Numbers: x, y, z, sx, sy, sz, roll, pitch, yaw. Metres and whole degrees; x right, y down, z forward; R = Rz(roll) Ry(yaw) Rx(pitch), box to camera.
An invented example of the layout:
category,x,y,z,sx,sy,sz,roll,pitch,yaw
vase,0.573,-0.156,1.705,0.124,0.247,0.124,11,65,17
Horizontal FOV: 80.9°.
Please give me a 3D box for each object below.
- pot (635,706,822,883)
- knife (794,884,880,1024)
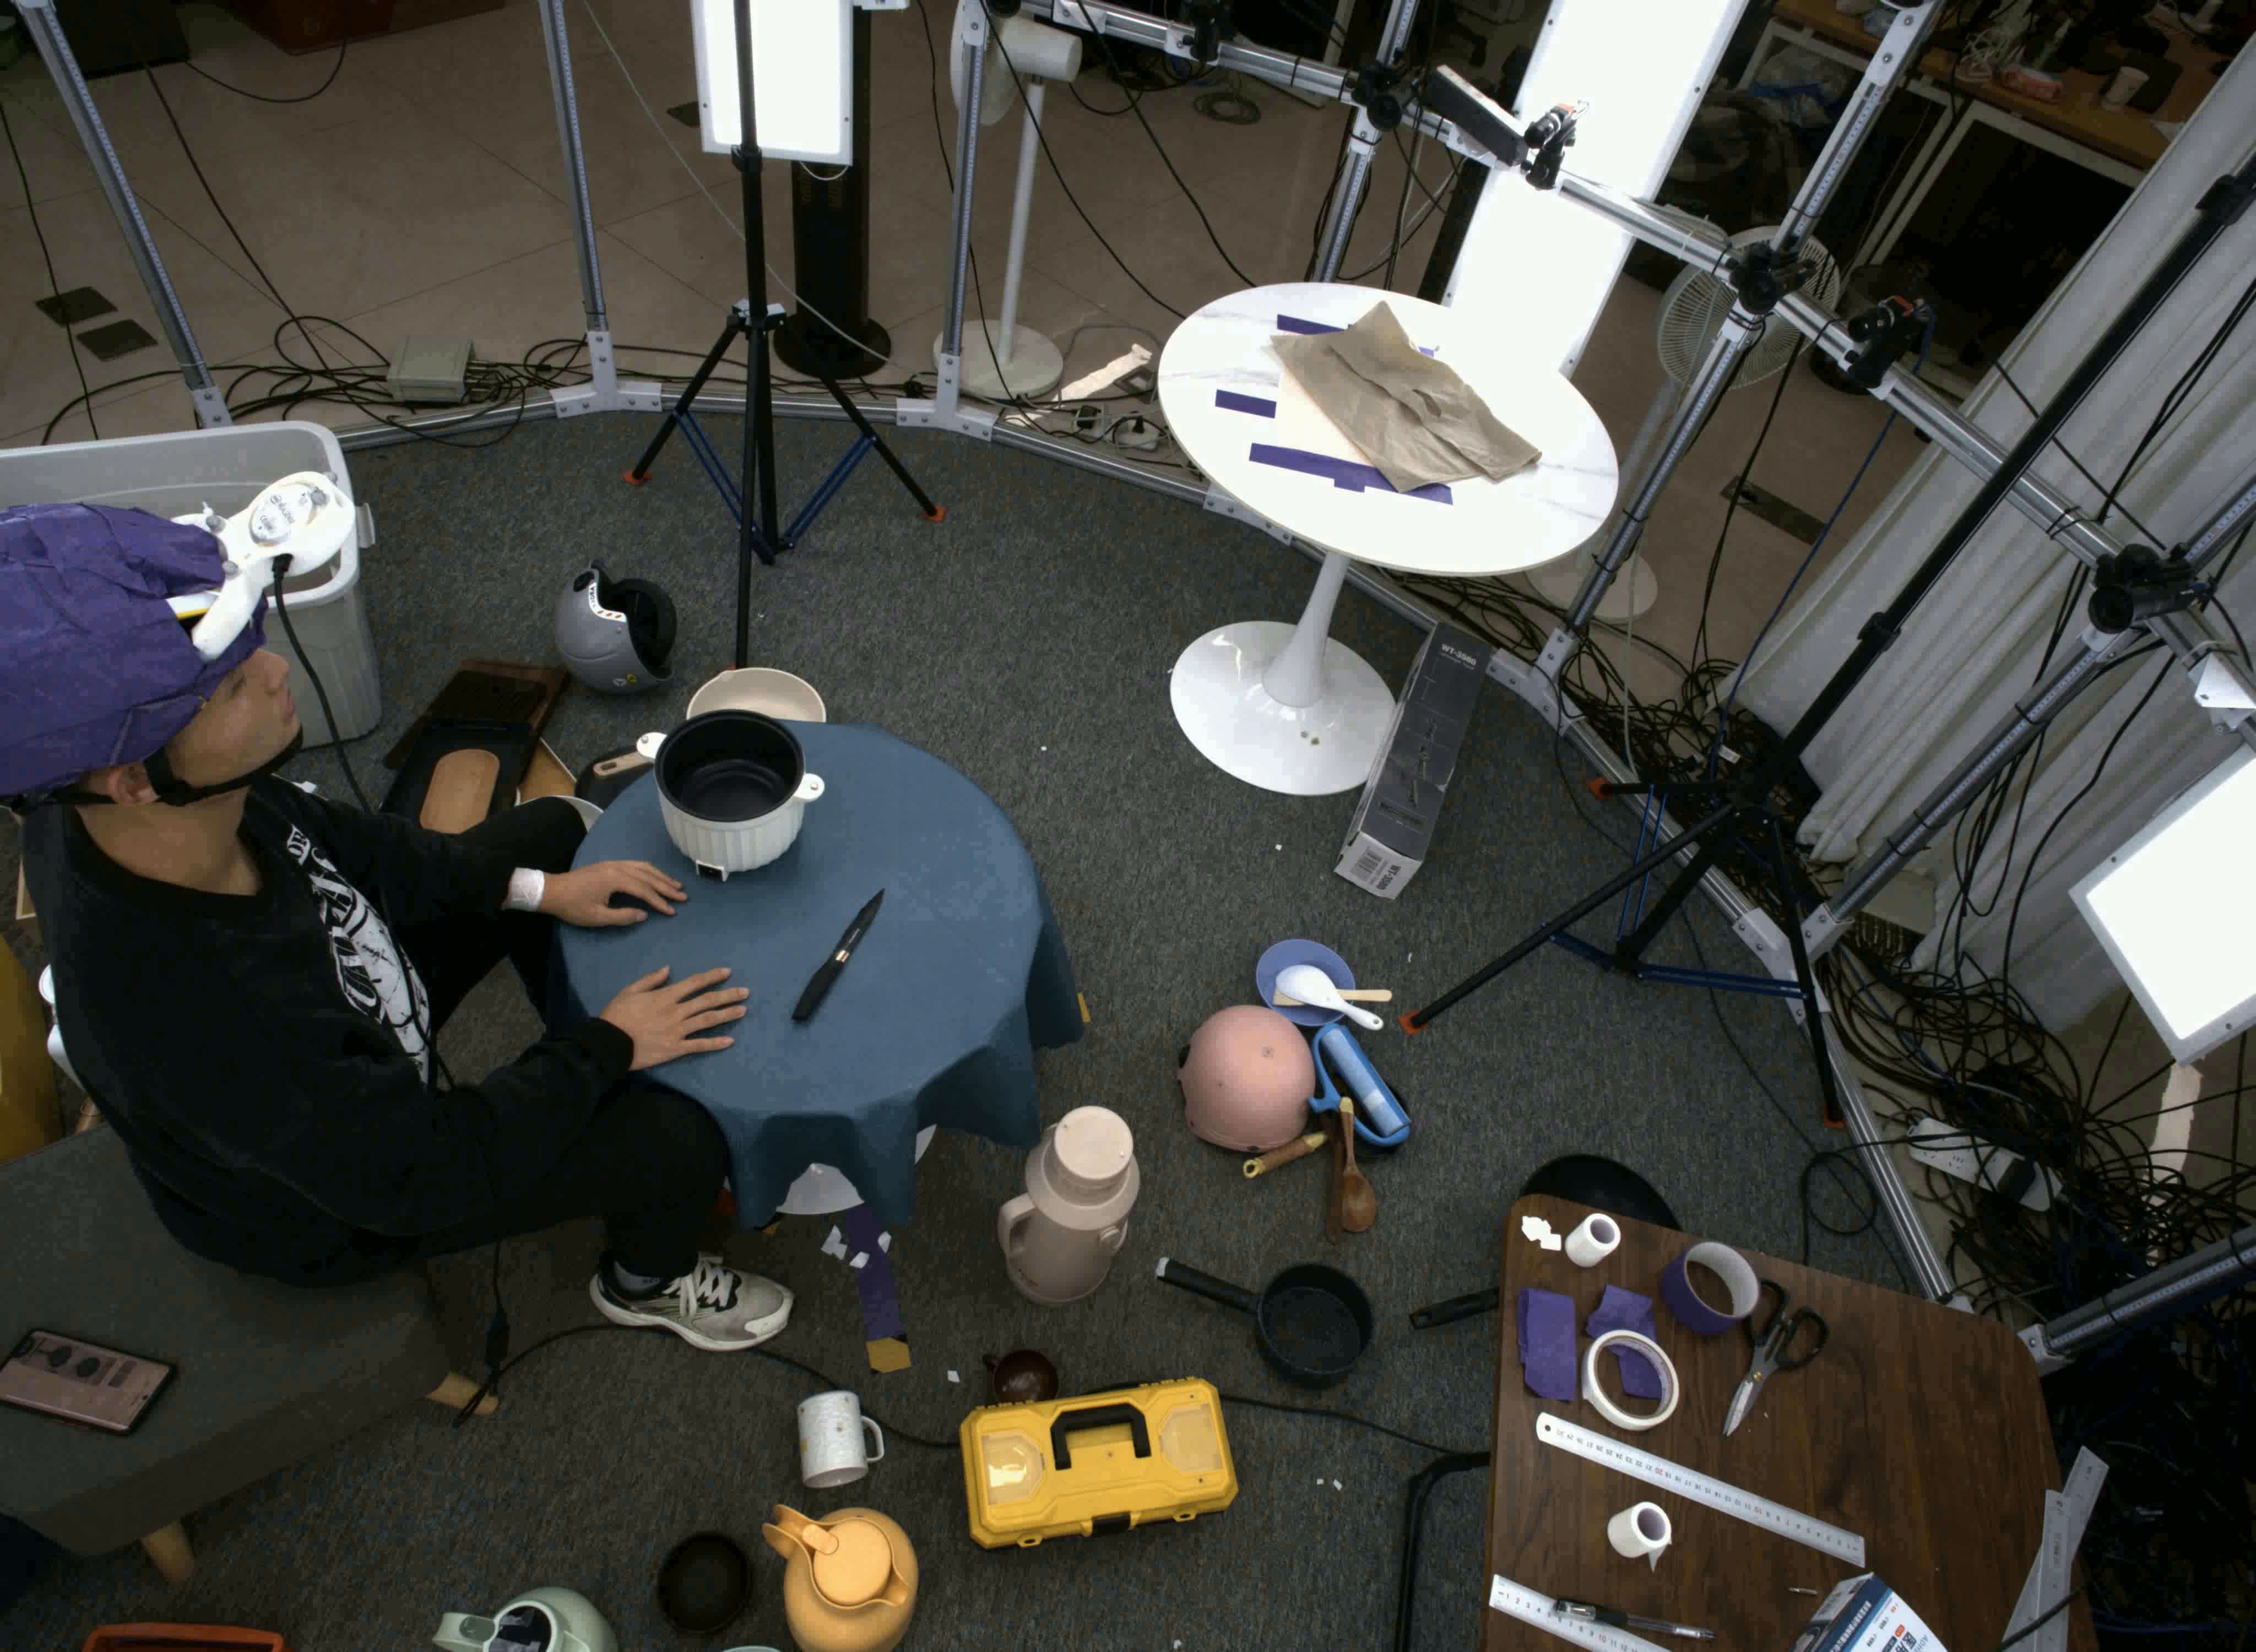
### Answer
category,x,y,z,sx,sy,sz,roll,pitch,yaw
pot,-0.504,-0.044,1.643,0.239,0.145,0.188,15,54,-4
knife,-0.357,0.153,1.619,0.025,0.018,0.223,12,49,16
